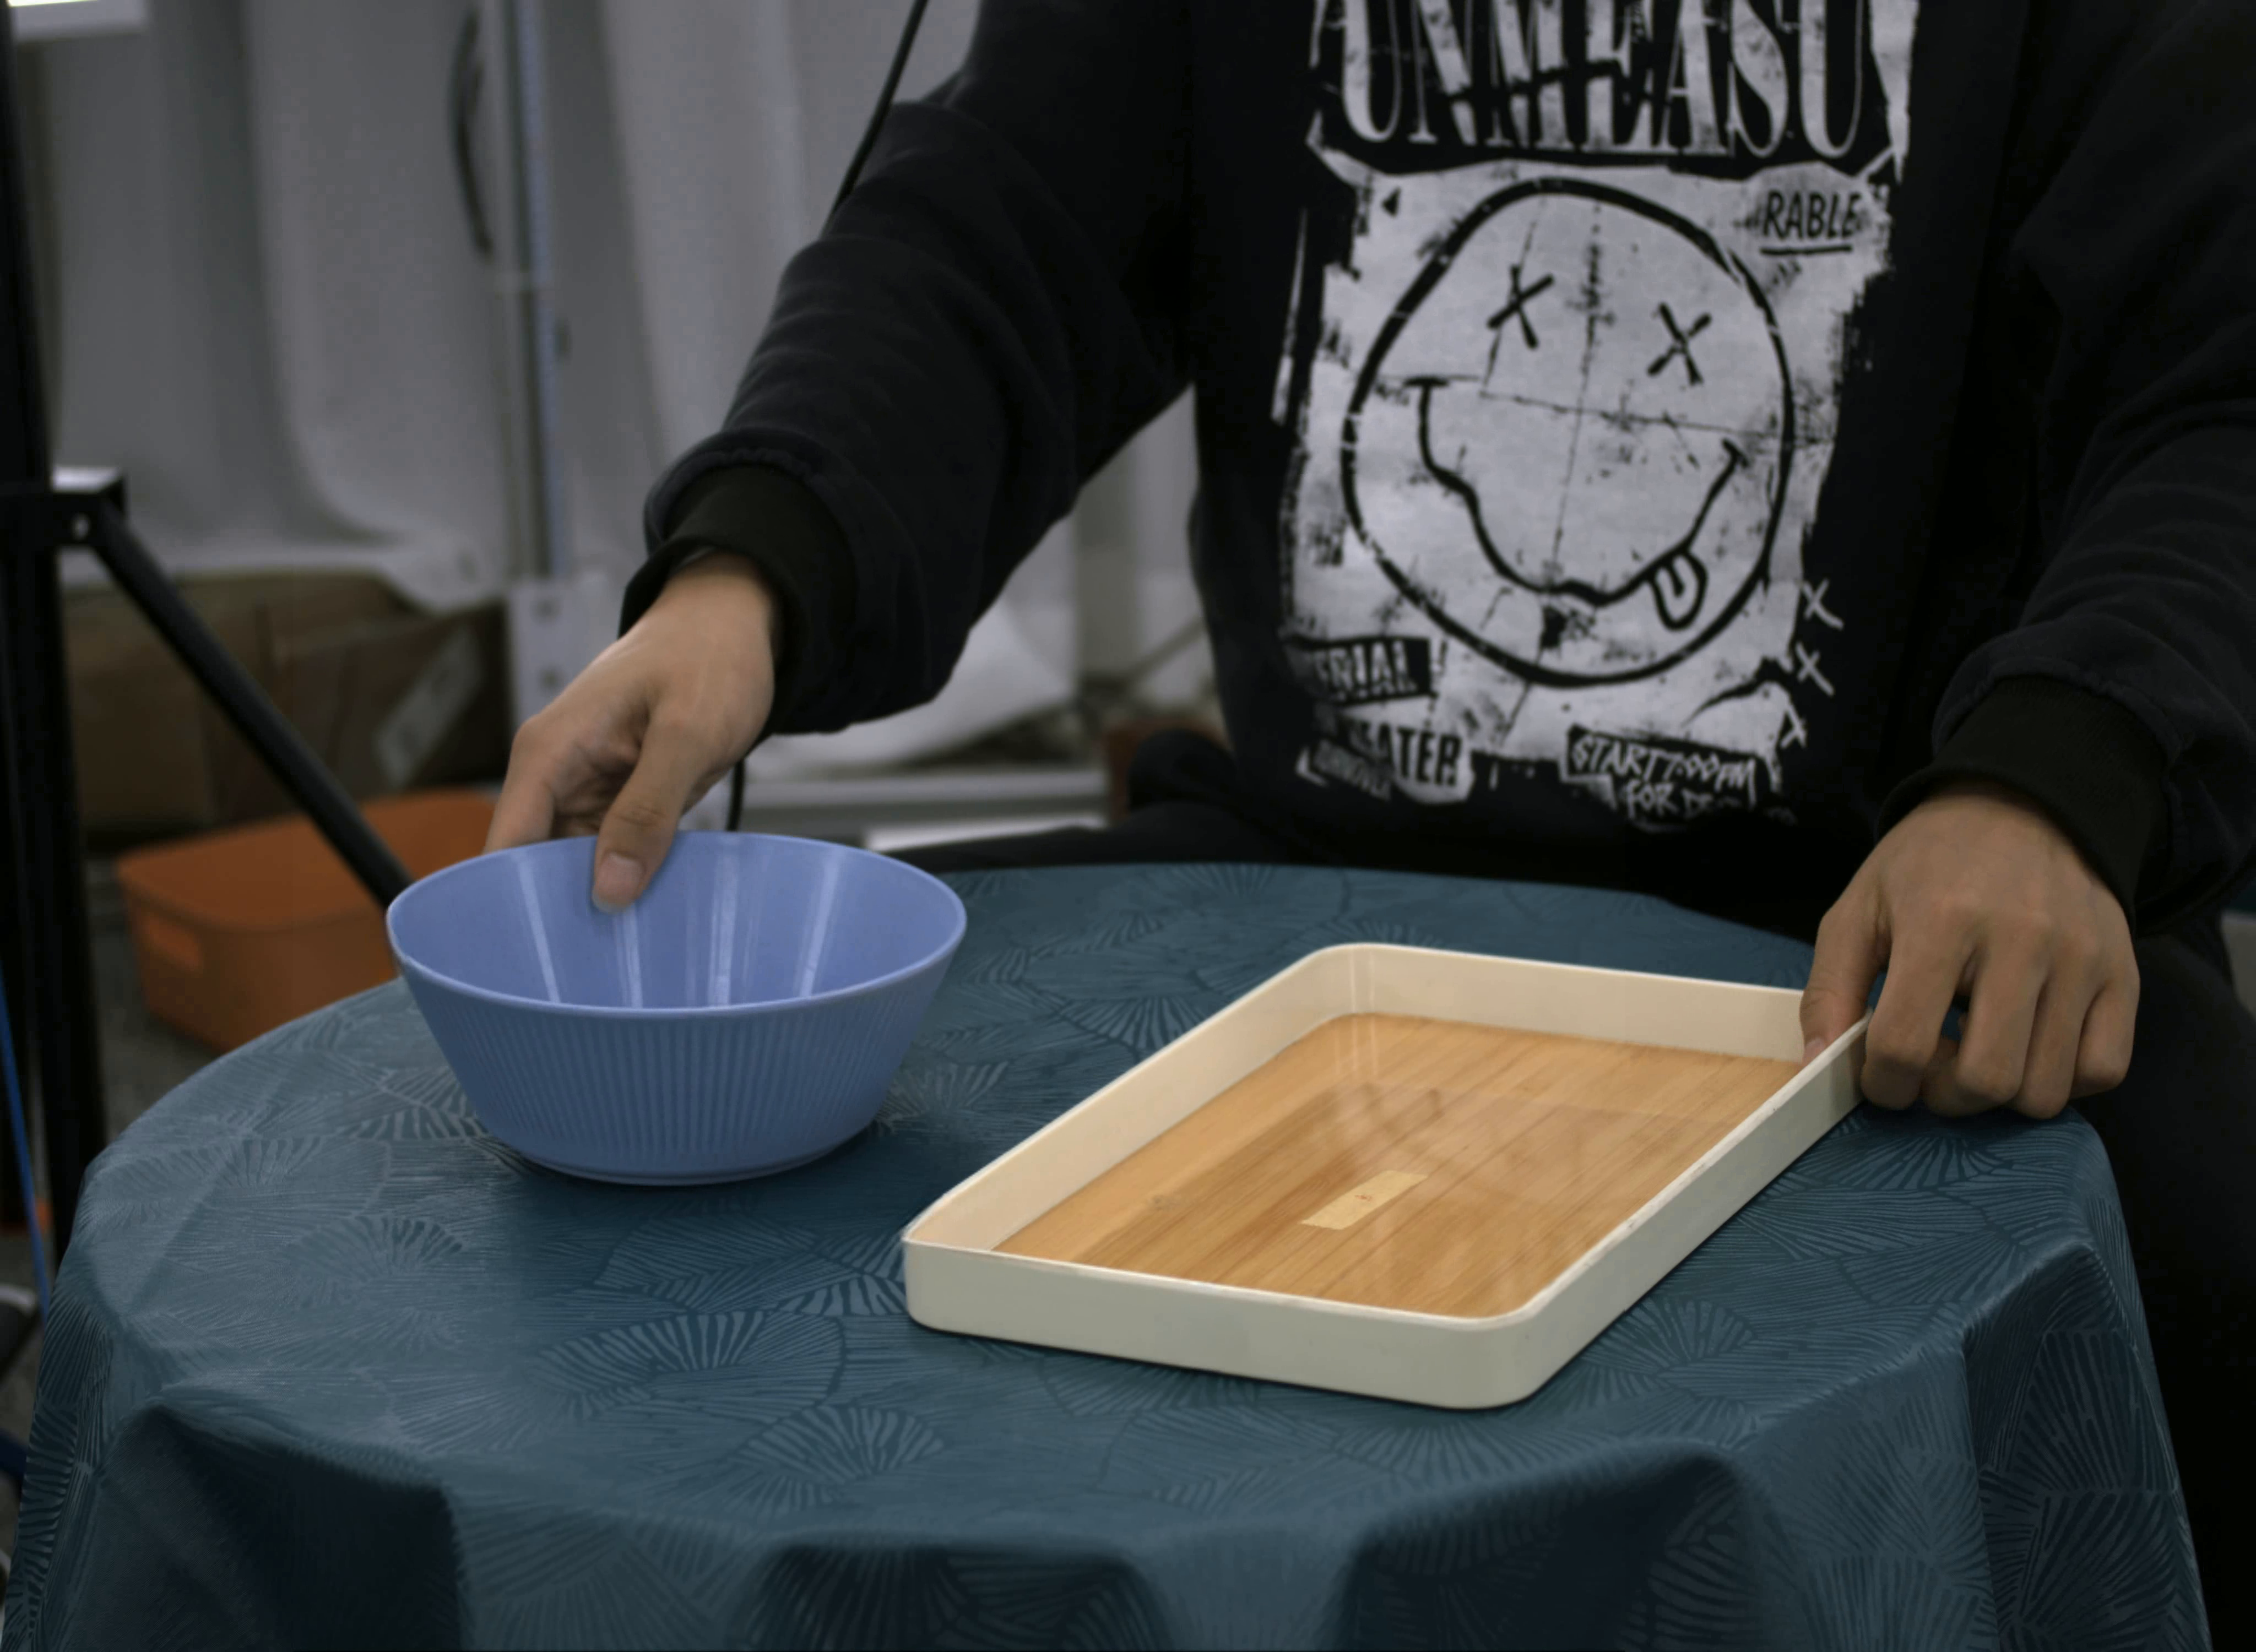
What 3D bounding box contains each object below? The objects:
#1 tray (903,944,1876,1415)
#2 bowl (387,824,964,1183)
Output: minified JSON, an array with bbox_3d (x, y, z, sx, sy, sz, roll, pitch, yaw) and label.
[{"bbox_3d":[0.083,0.096,1.537,0.195,0.027,0.295,6,18,27],"label":"tray"},{"bbox_3d":[-0.137,0.057,1.622,0.175,0.070,0.177,-1,18,-1],"label":"bowl"}]
